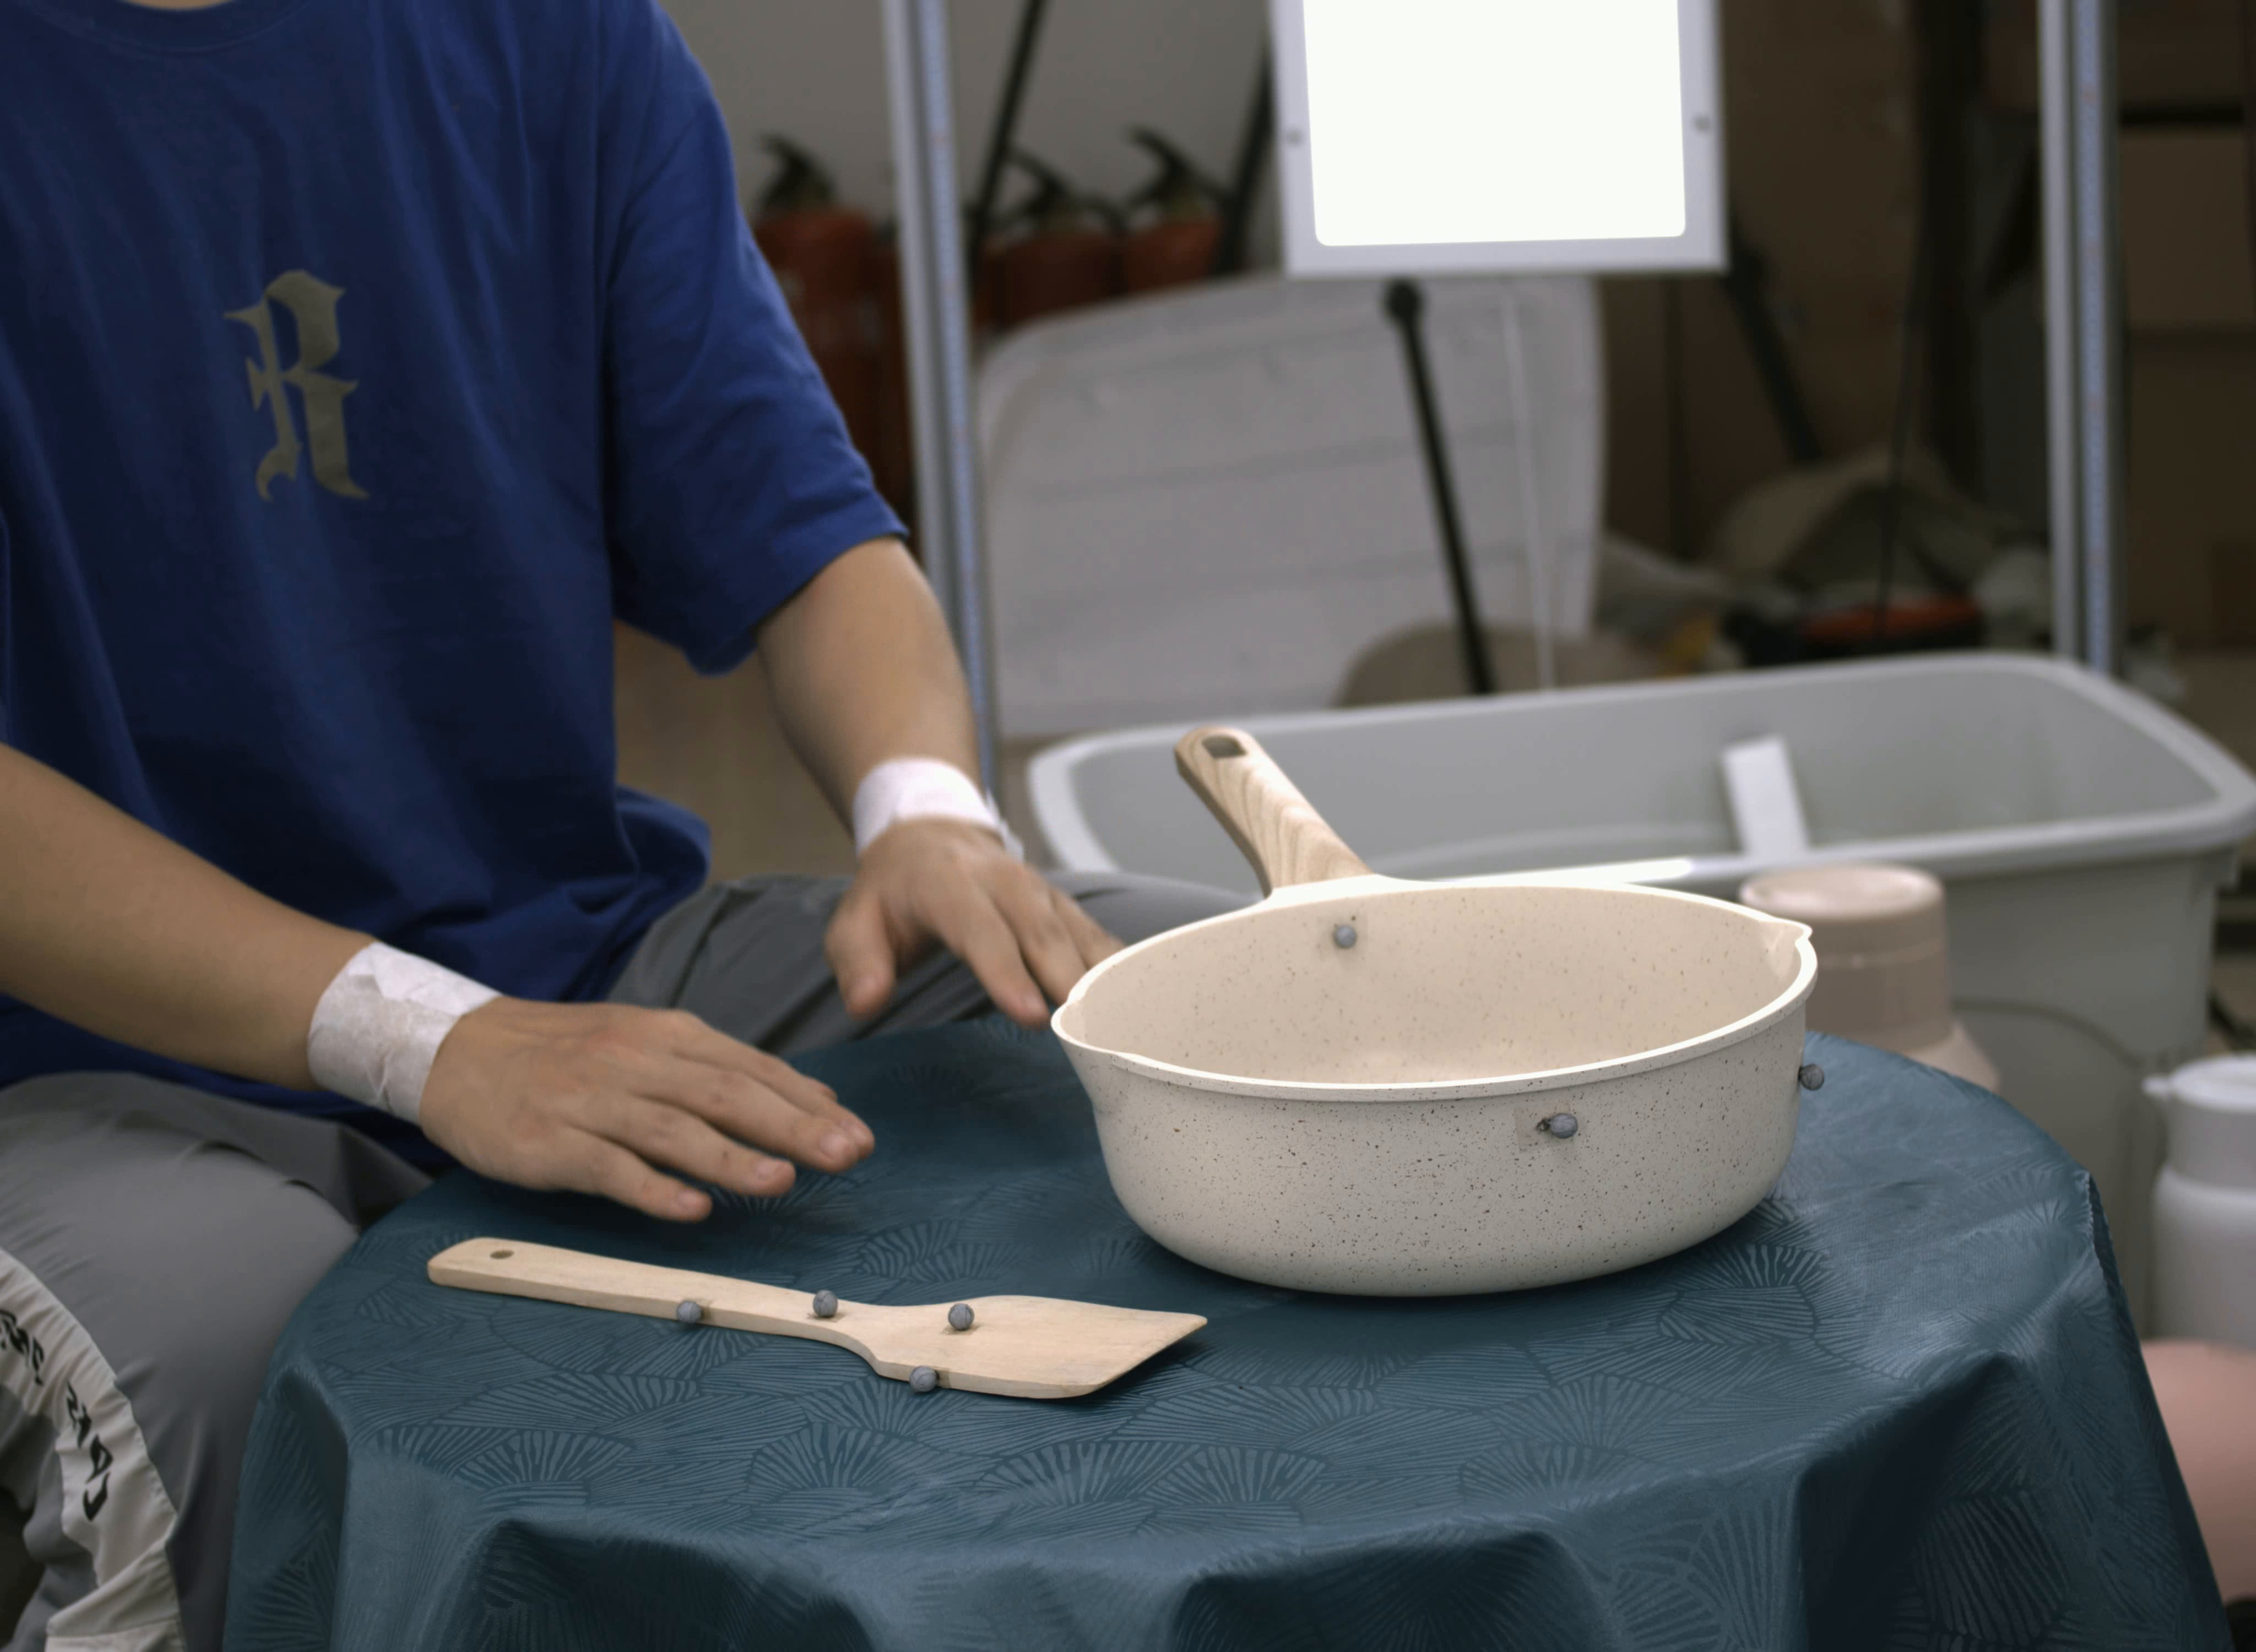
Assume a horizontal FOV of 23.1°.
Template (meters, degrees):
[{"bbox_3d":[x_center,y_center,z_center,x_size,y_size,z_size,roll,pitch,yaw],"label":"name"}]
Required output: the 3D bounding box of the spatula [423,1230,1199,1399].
[{"bbox_3d":[-0.115,0.156,1.797,0.299,0.011,0.070,5,18,35],"label":"spatula"}]

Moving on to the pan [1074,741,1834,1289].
[{"bbox_3d":[0.089,0.060,1.924,0.260,0.102,0.439,-10,14,-12],"label":"pan"}]
